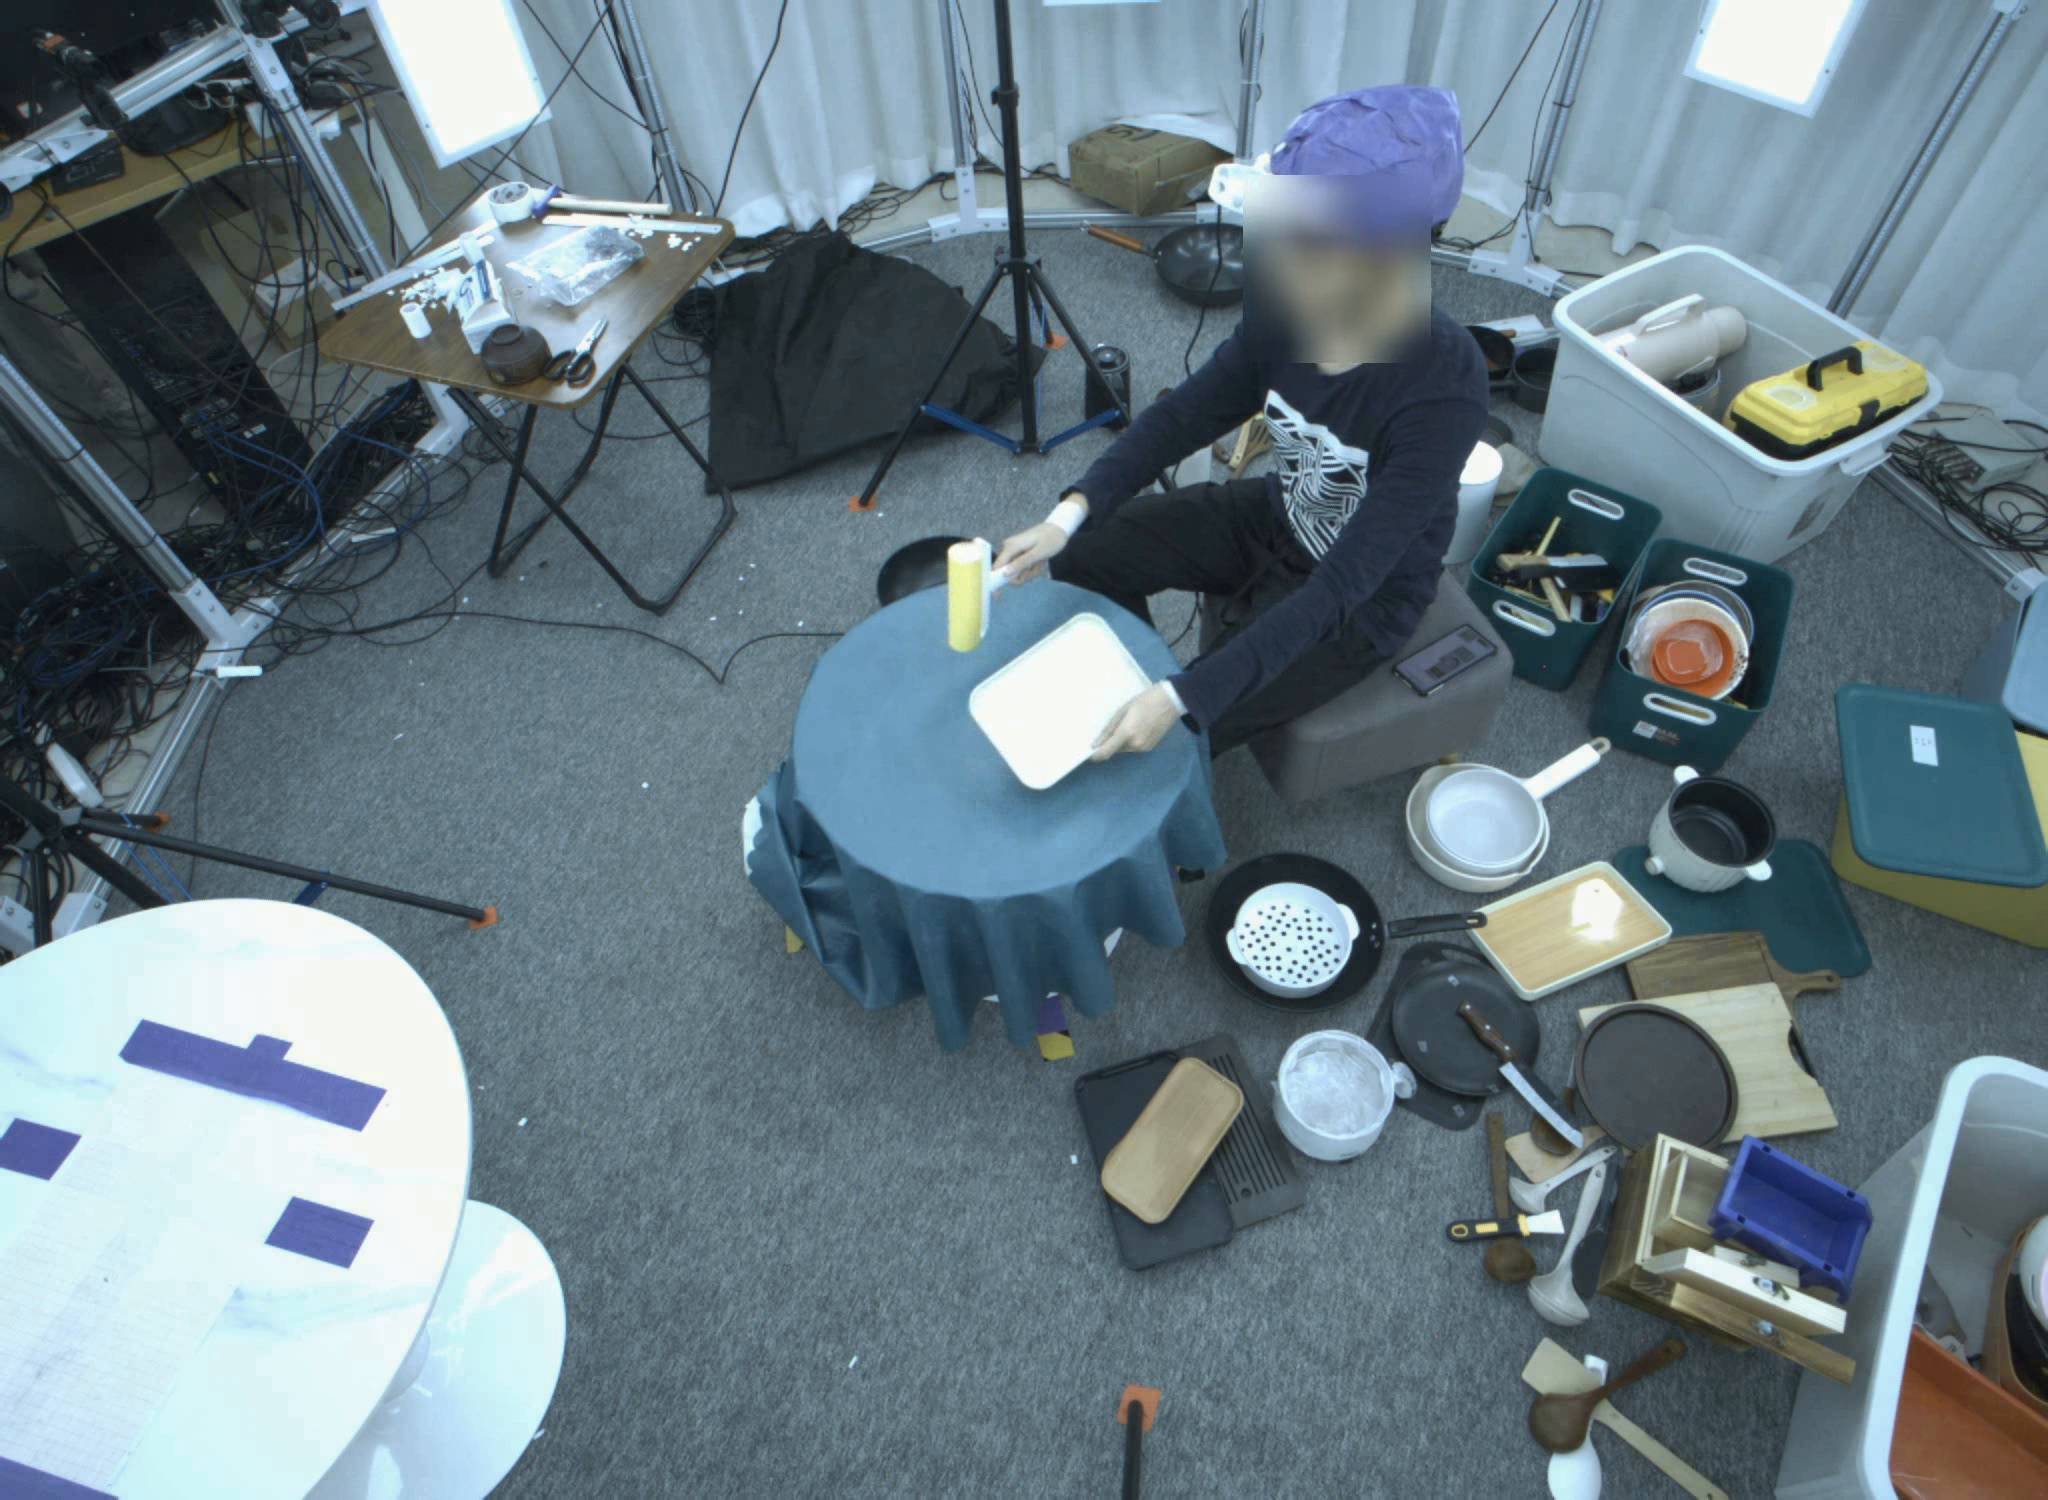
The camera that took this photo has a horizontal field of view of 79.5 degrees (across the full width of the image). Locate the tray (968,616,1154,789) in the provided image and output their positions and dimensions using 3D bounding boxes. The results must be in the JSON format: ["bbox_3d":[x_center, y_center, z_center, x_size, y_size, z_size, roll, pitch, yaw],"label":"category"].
[{"bbox_3d":[0.053,-0.067,1.725,0.241,0.017,0.171,-37,88,-18],"label":"tray"}]

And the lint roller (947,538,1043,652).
[{"bbox_3d":[-0.046,-0.256,1.817,0.050,0.176,0.193,26,46,22],"label":"lint roller"}]
